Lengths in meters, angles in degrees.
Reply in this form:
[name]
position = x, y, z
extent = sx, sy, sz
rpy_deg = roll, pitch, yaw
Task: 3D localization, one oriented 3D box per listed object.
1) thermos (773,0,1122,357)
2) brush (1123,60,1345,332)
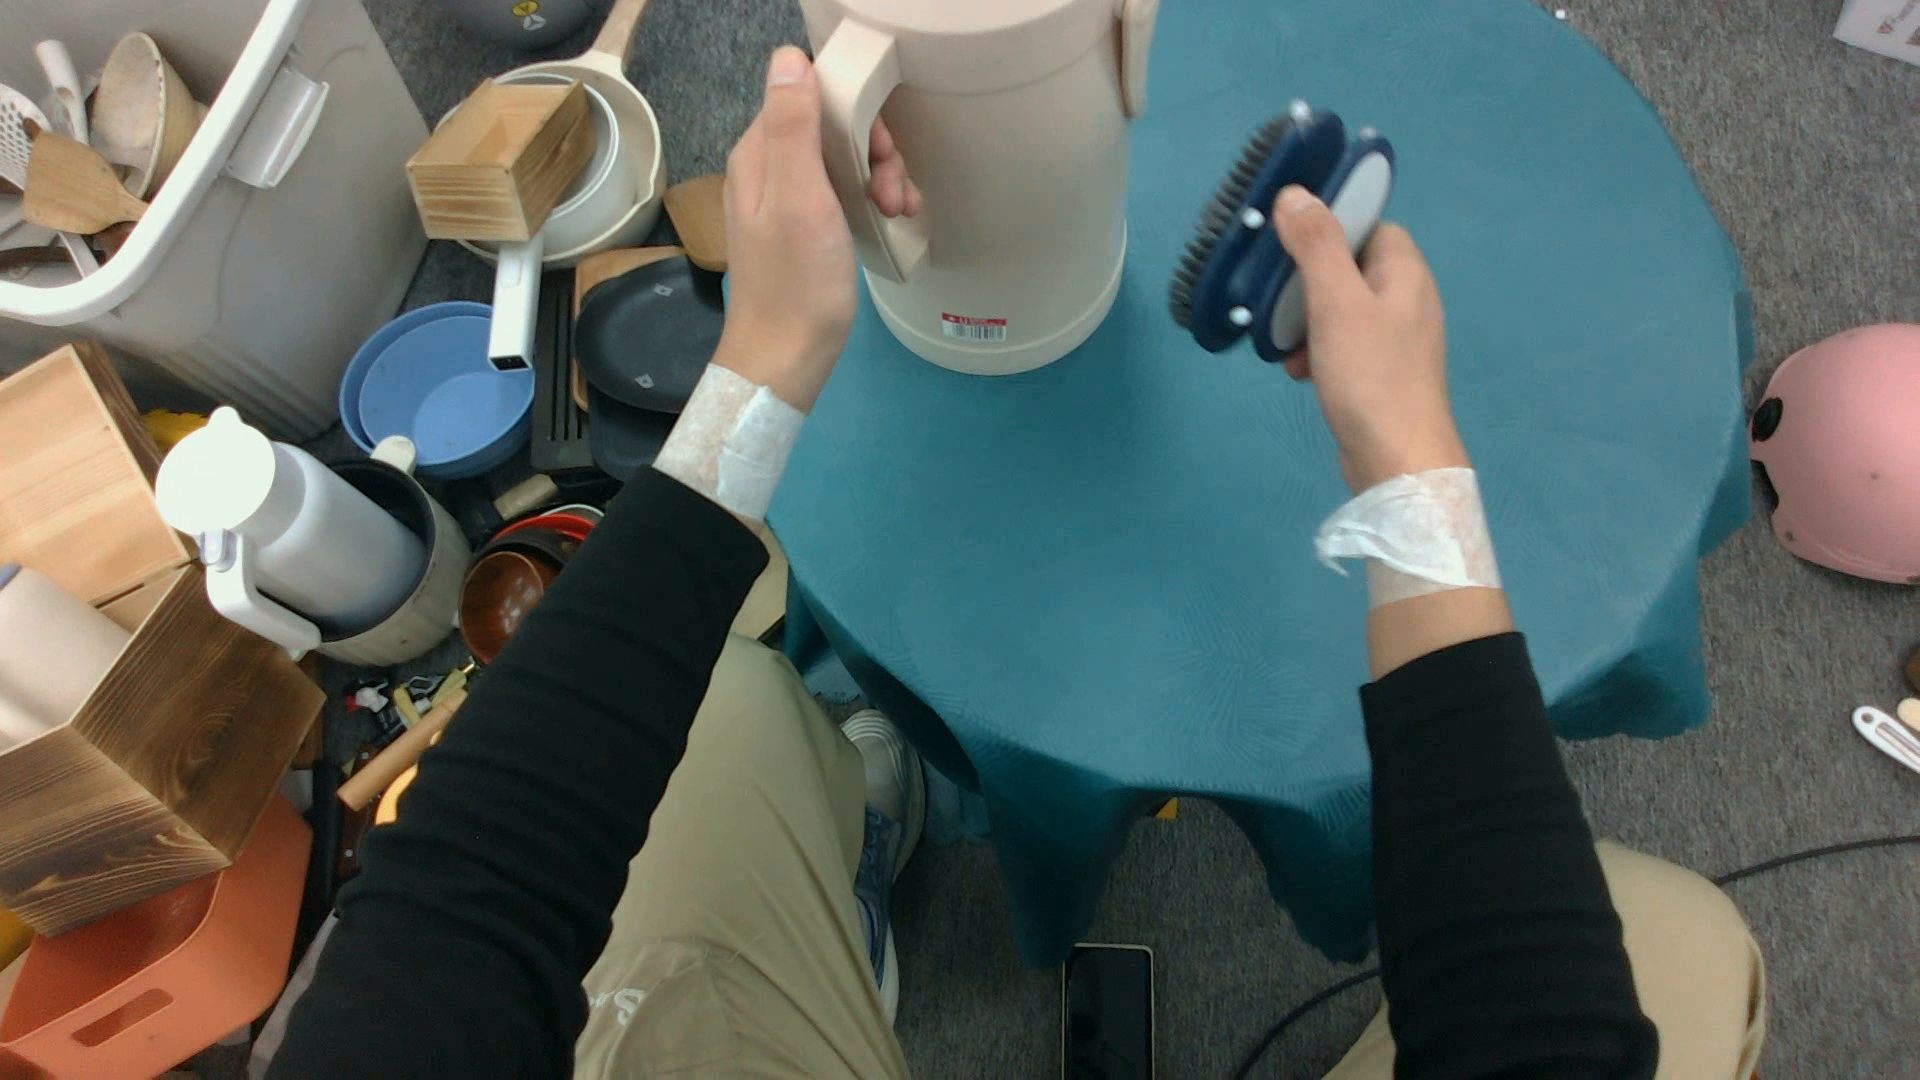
[thermos]
position = -0.015, -0.235, 0.655
extent = 0.175, 0.405, 0.207
rpy_deg = 26, 74, 10
[brush]
position = 0.119, -0.152, 0.609
extent = 0.061, 0.068, 0.121
rpy_deg = 27, 90, 29
